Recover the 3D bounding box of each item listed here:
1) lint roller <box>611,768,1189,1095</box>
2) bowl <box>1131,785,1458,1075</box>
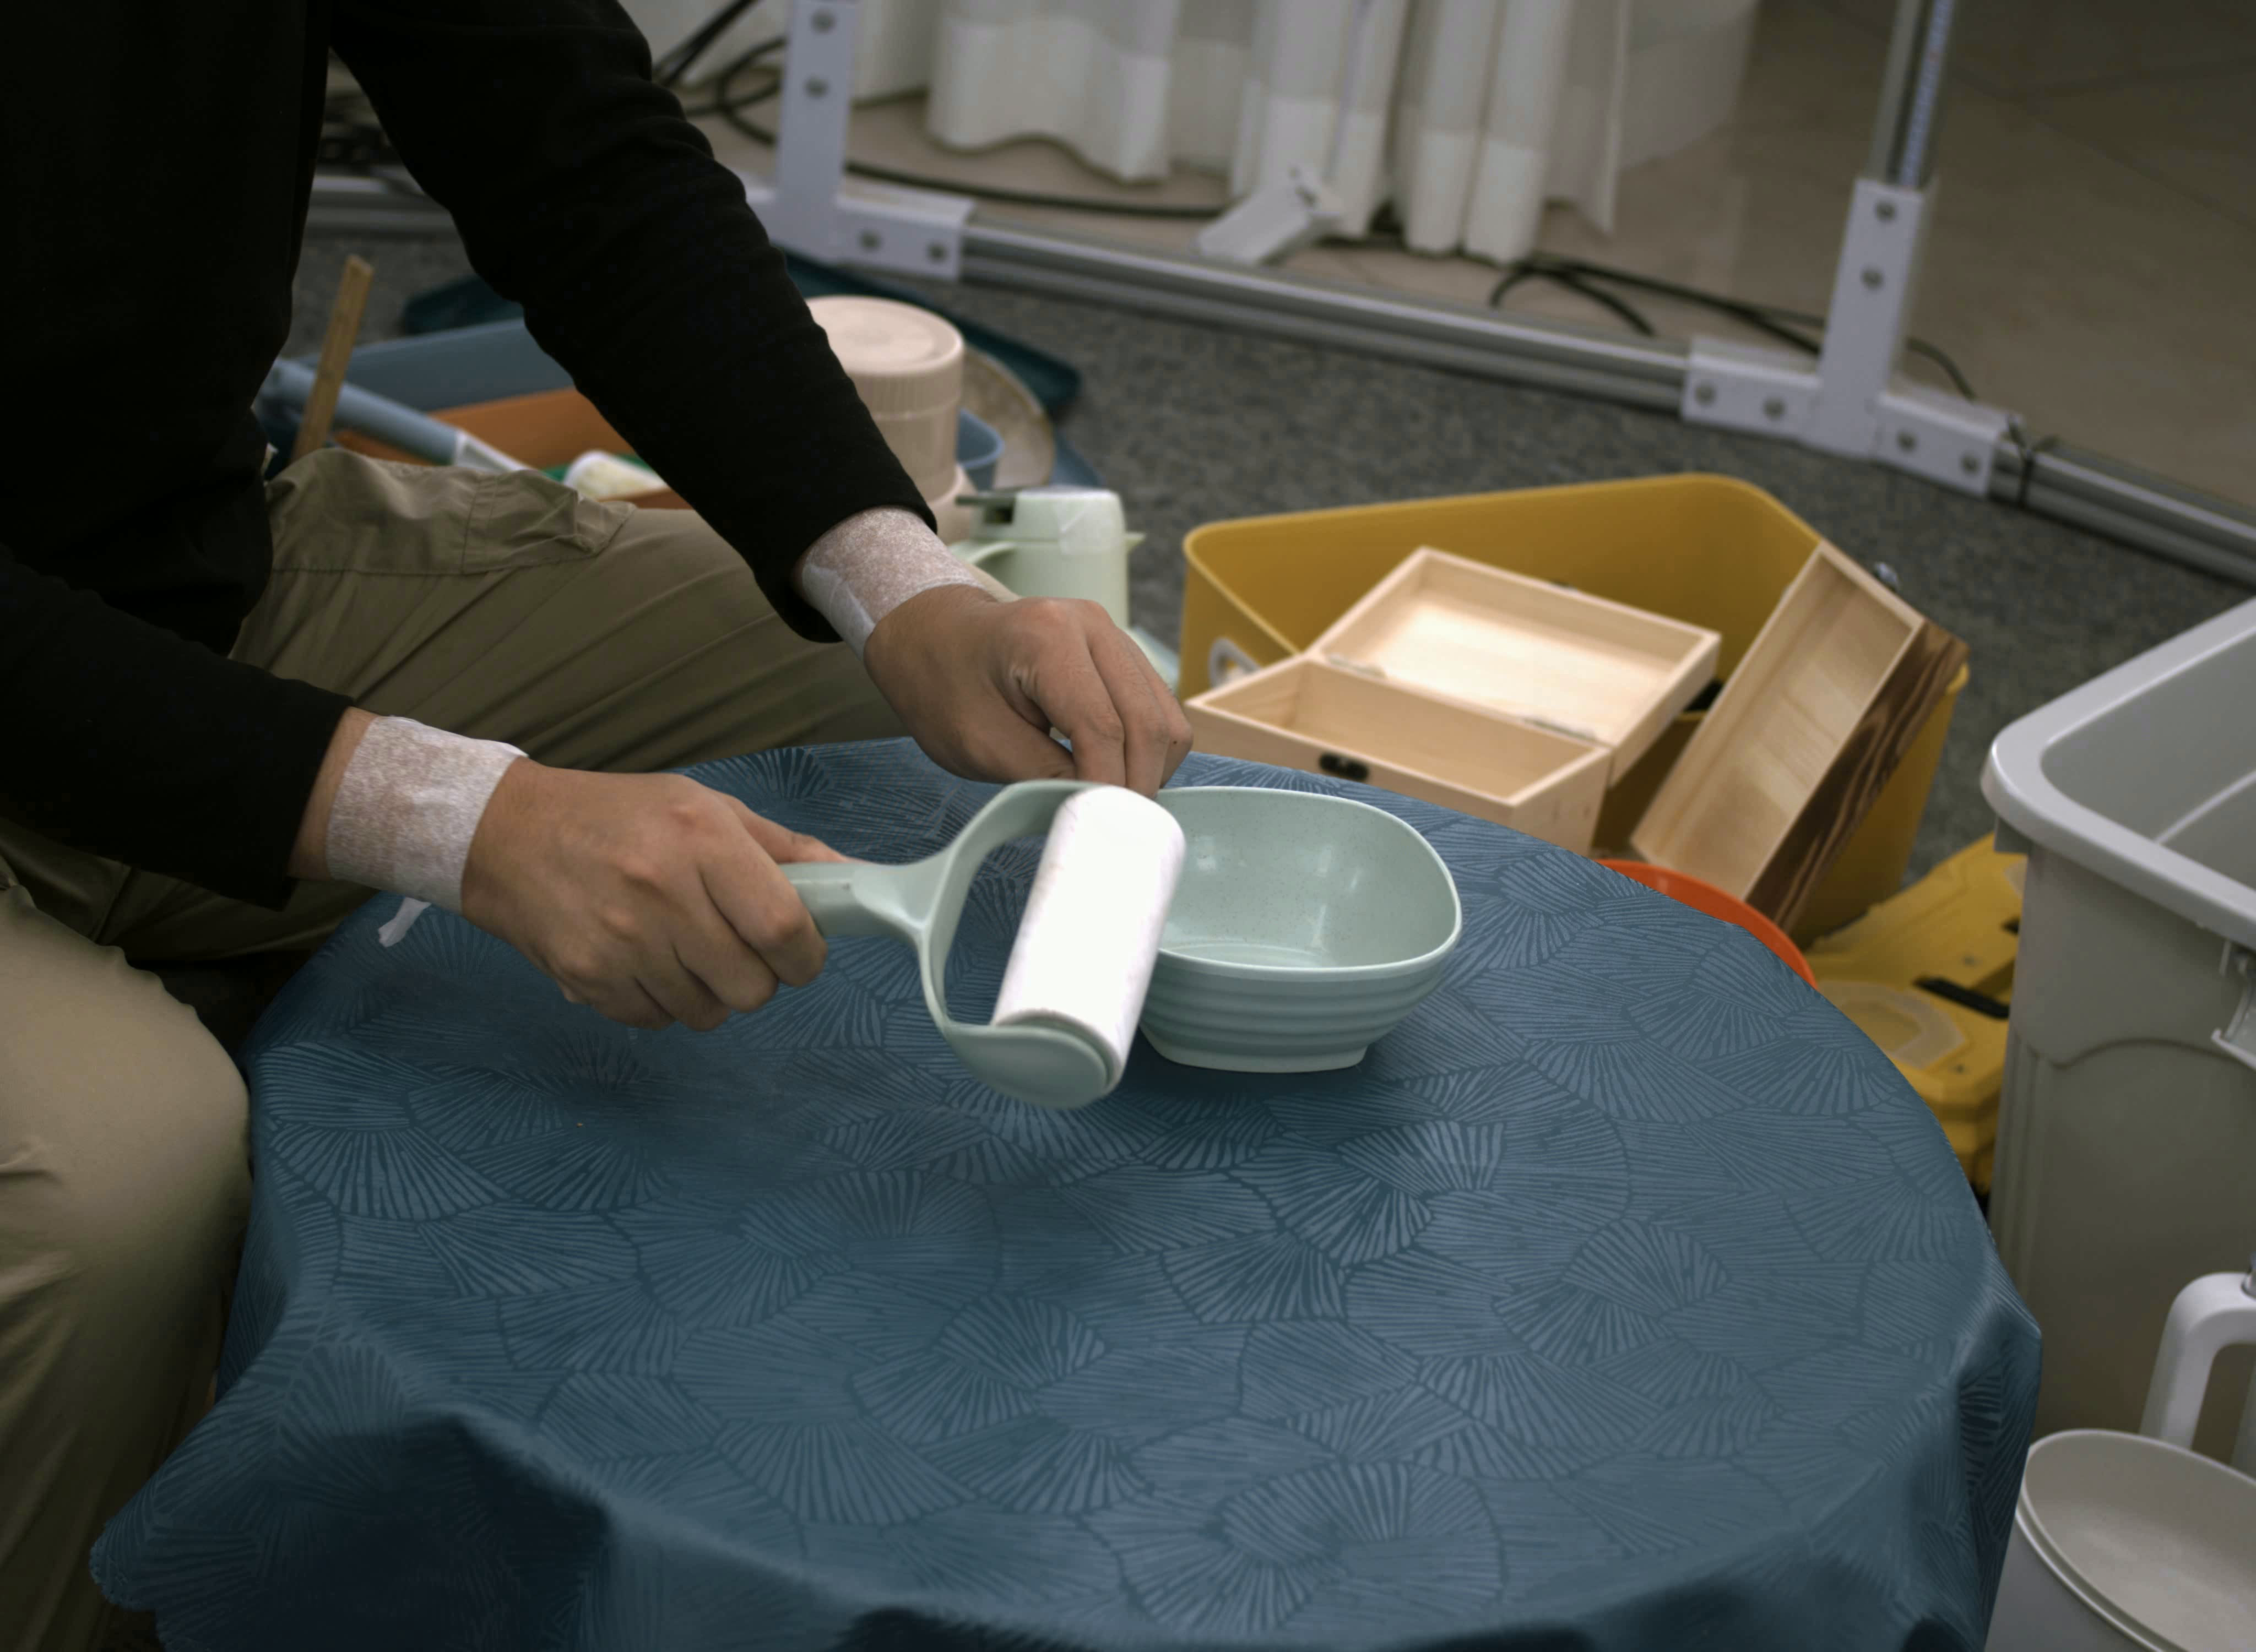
[{"bbox_3d":[-0.082,0.030,1.793,0.198,0.048,0.117,5,50,15],"label":"lint roller"},{"bbox_3d":[0.045,0.043,1.908,0.151,0.058,0.152,6,27,-4],"label":"bowl"}]
